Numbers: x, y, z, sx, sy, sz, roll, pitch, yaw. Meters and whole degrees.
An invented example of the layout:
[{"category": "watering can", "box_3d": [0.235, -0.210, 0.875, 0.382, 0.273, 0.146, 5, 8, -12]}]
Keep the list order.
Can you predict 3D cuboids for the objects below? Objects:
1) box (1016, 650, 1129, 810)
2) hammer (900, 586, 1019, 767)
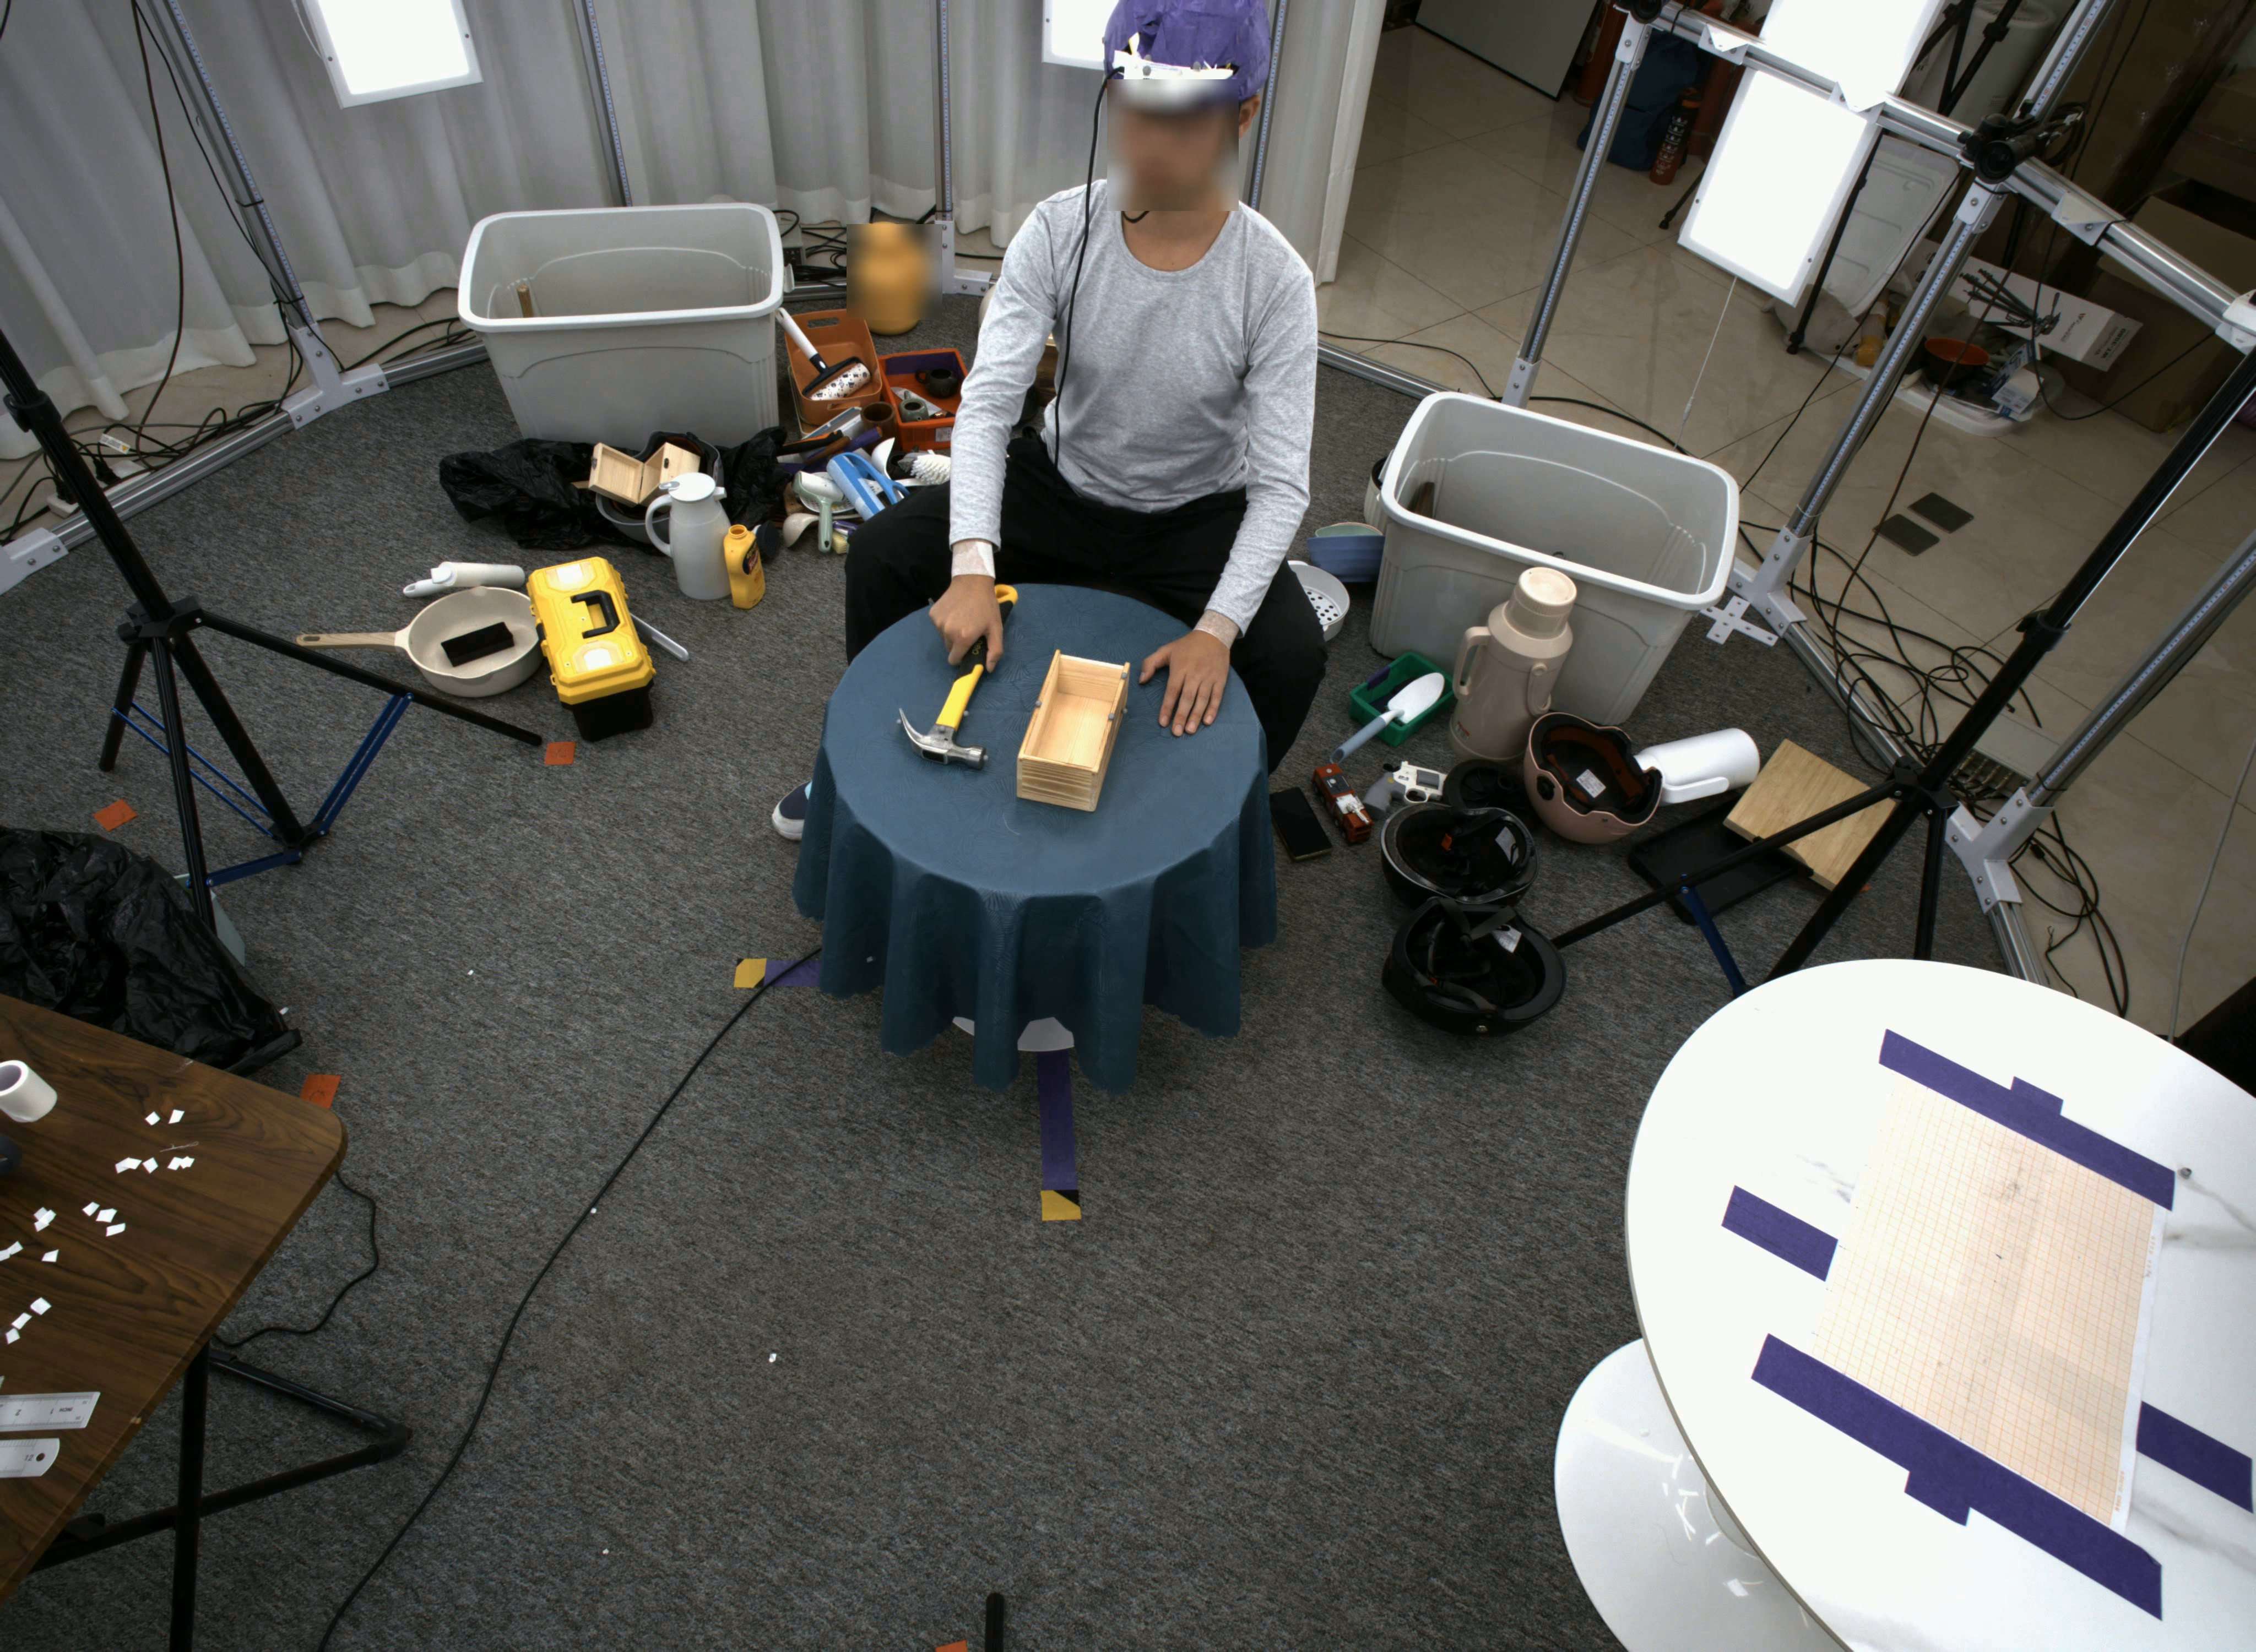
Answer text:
[{"category": "box", "box_3d": [-0.073, -0.132, 1.736, 0.107, 0.078, 0.216, 10, 49, 5]}, {"category": "hammer", "box_3d": [-0.221, -0.224, 1.828, 0.131, 0.031, 0.346, 11, 51, 8]}]
